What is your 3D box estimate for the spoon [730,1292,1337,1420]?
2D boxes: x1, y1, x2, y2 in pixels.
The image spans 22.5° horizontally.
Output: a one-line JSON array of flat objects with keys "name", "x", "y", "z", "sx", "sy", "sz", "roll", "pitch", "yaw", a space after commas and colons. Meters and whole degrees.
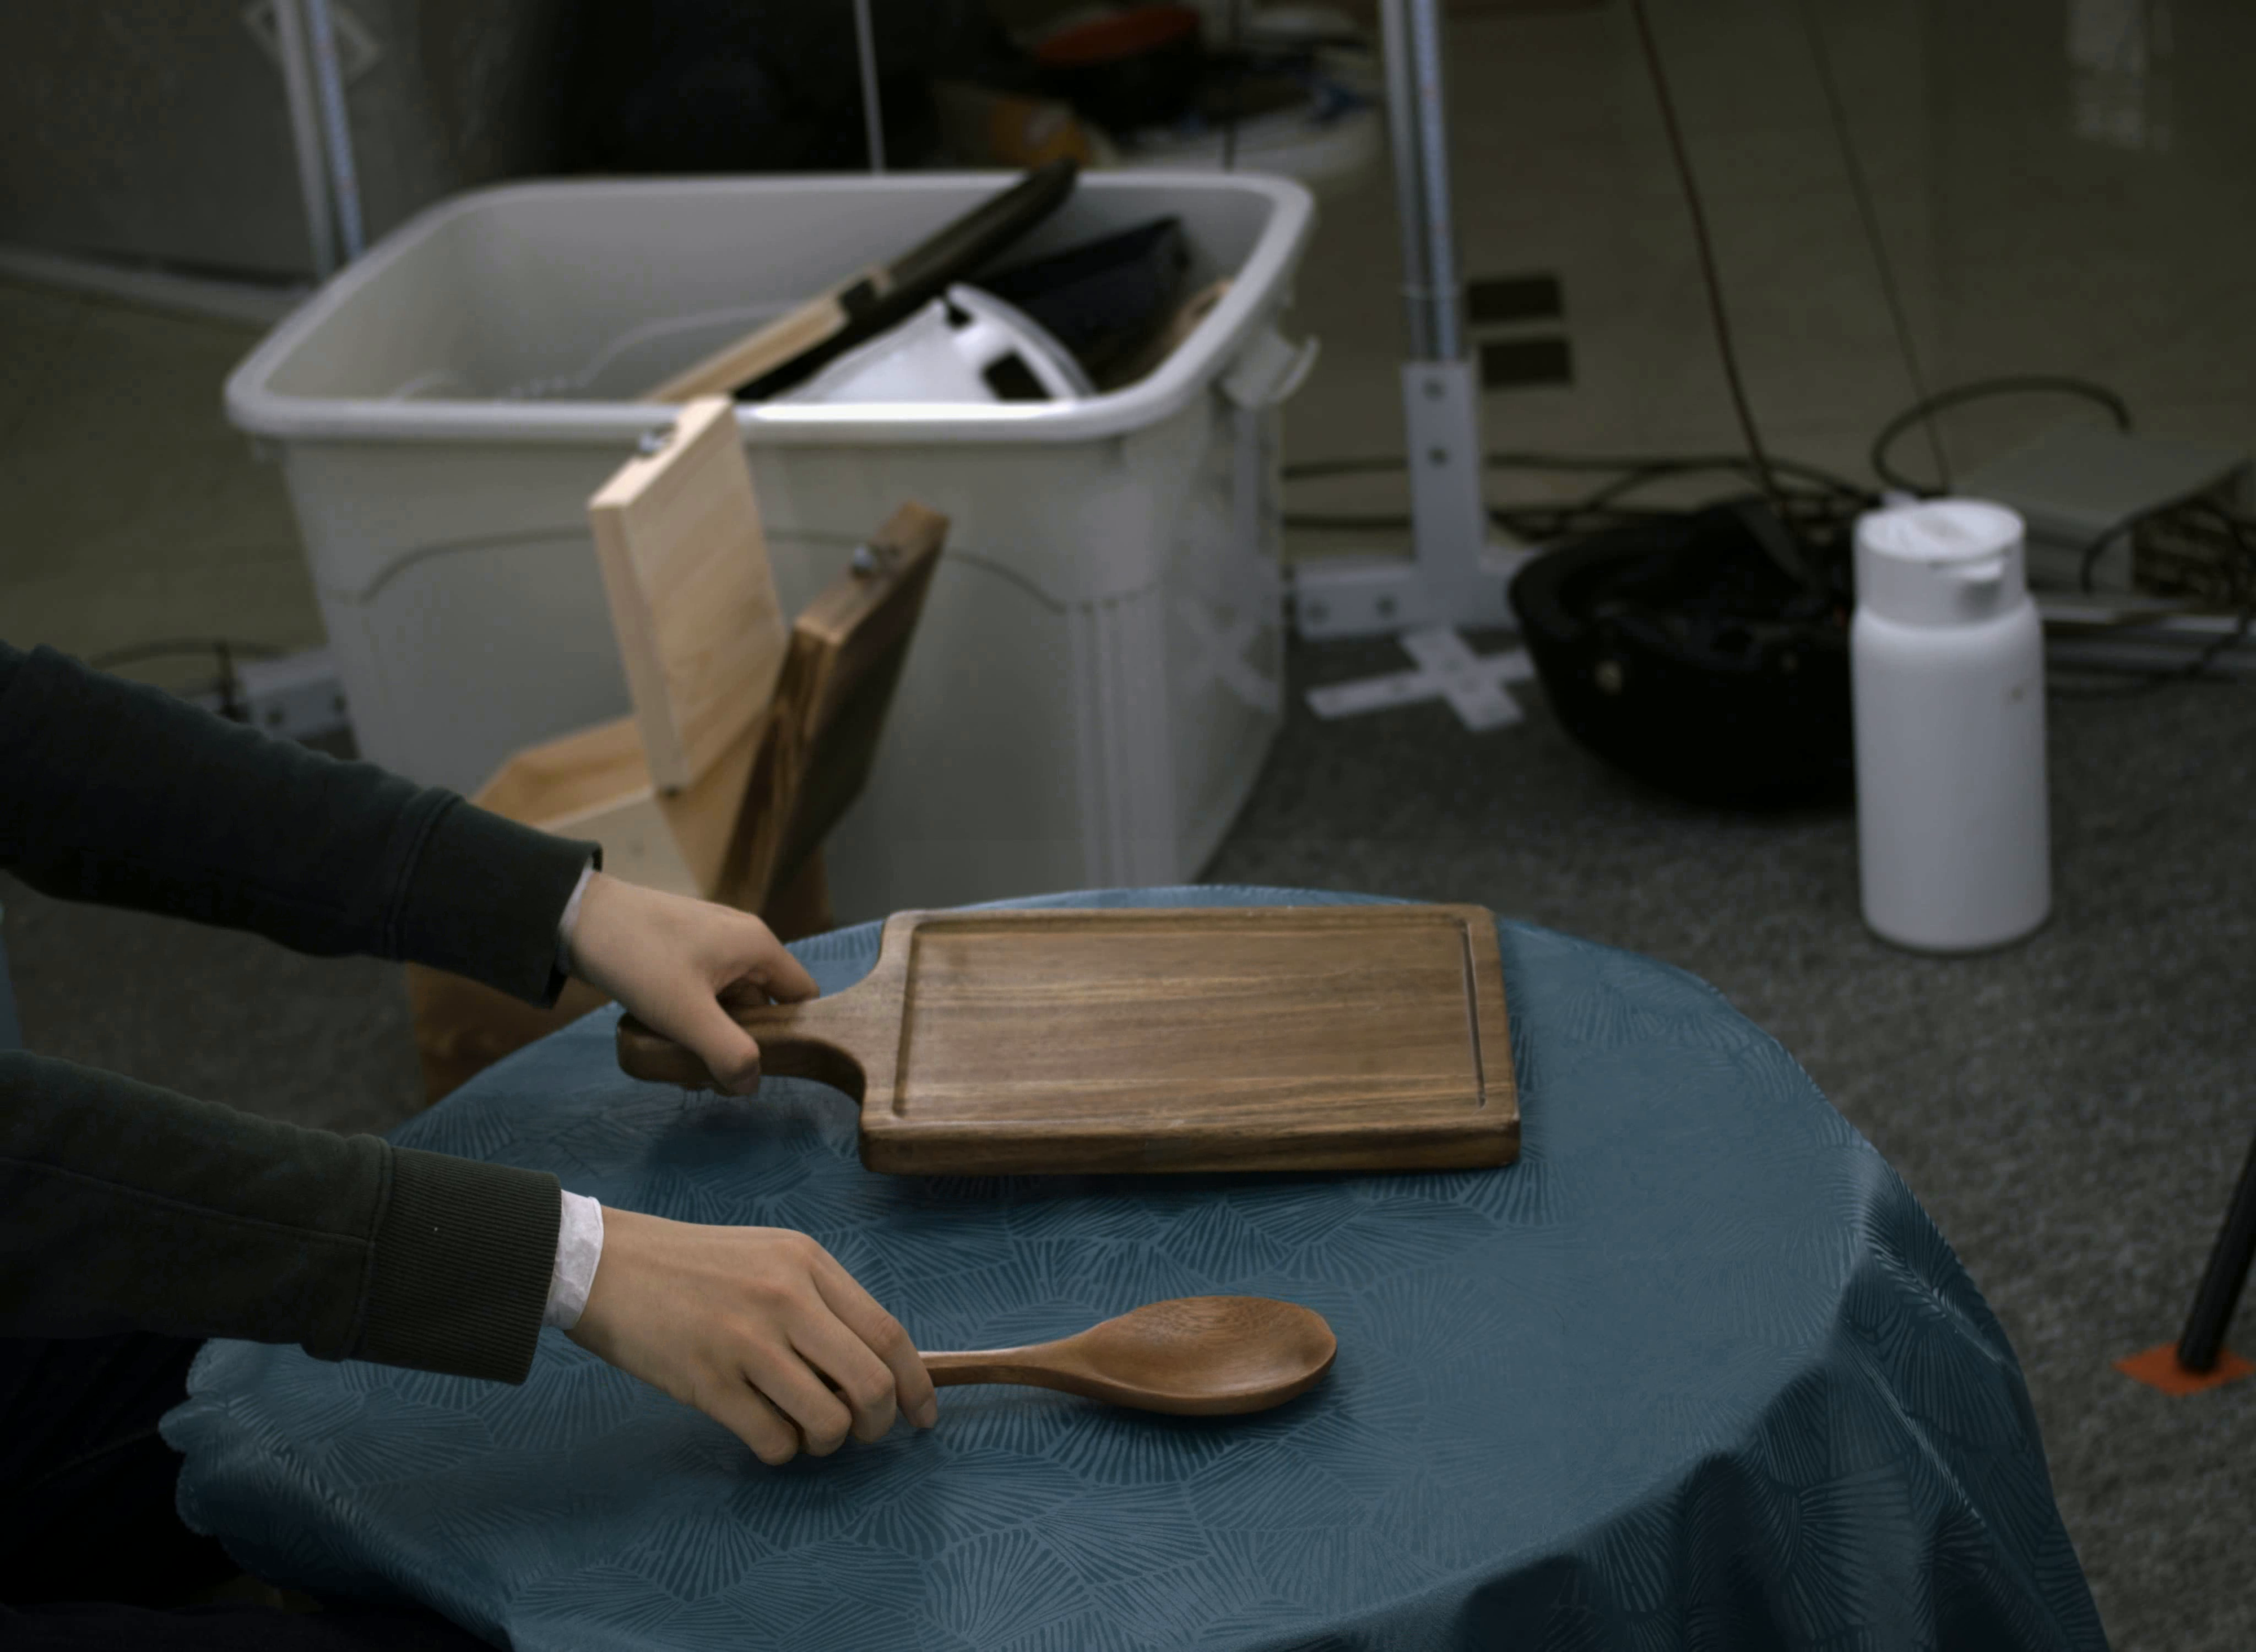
[{"name": "spoon", "x": -0.034, "y": 0.192, "z": 2.015, "sx": 0.215, "sy": 0.017, "sz": 0.074, "roll": -2, "pitch": 27, "yaw": 0}]

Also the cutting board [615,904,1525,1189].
[{"name": "cutting board", "x": -0.025, "y": 0.085, "z": 2.223, "sx": 0.351, "sy": 0.023, "sz": 0.198, "roll": -1, "pitch": 26, "yaw": 1}]
